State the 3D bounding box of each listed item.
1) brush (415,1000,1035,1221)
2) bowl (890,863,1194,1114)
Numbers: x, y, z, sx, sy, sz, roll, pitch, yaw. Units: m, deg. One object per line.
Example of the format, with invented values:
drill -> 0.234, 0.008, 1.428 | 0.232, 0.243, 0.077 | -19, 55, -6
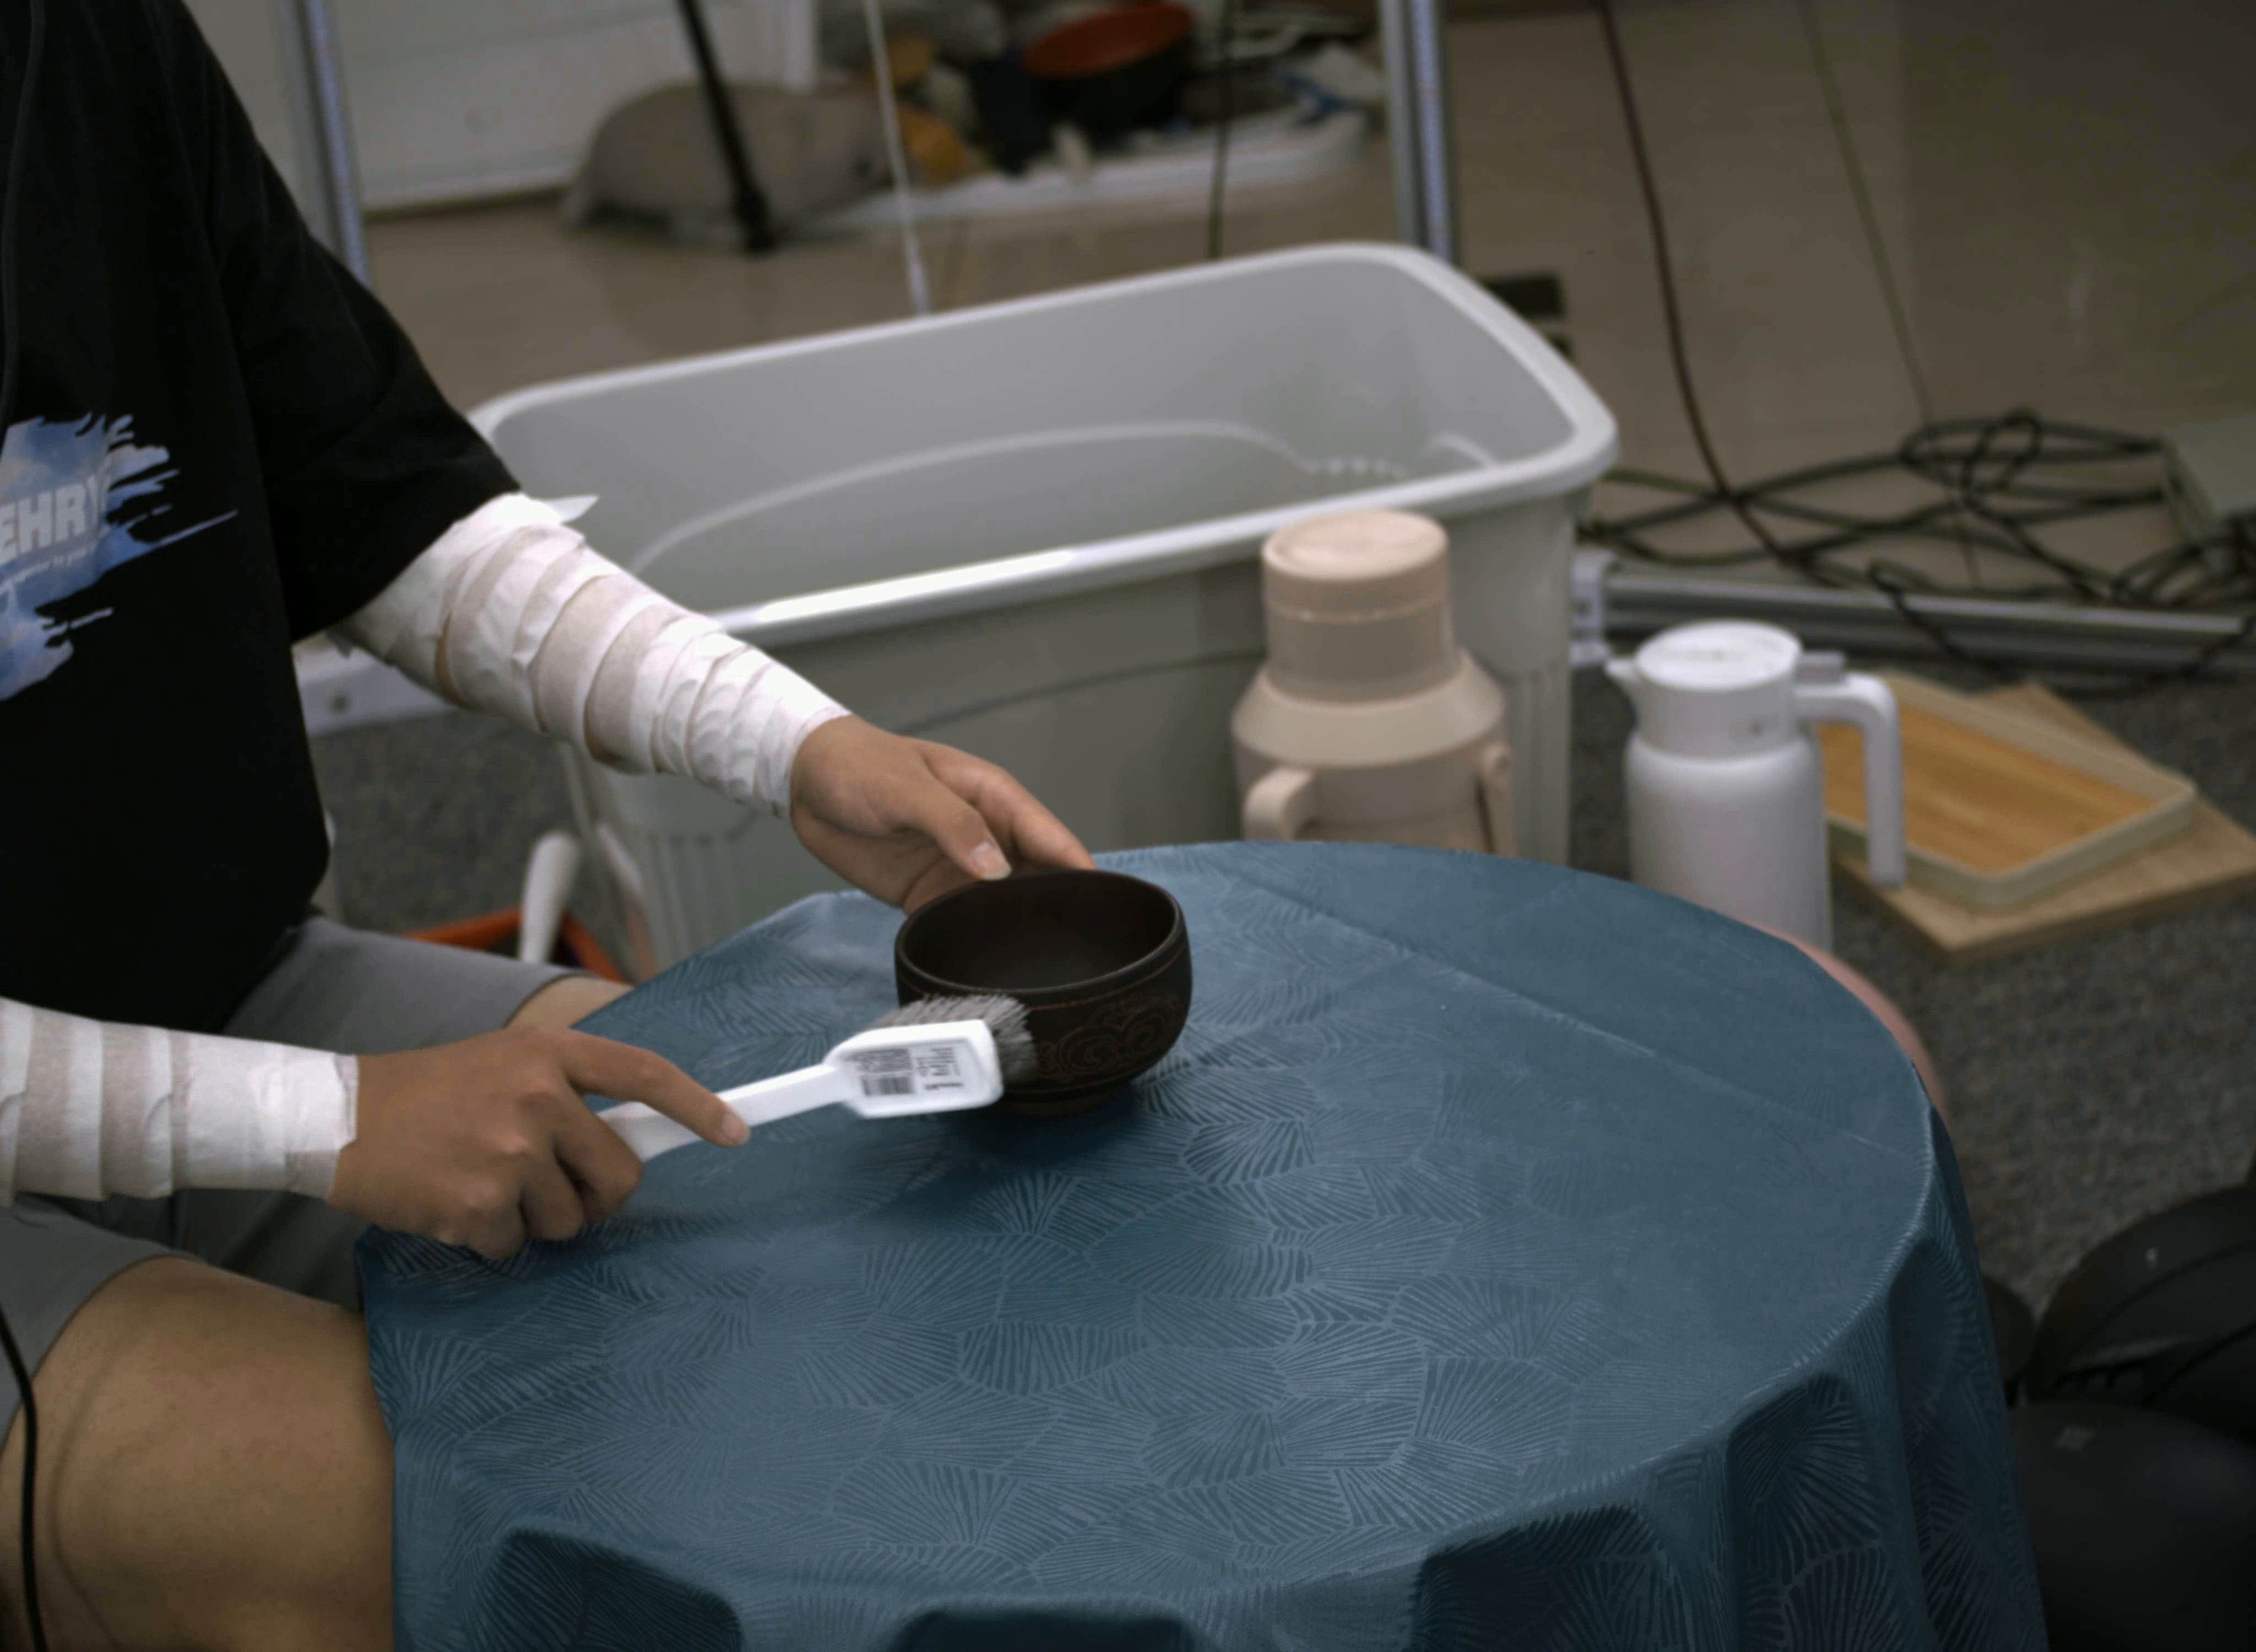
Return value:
brush -> -0.154, 0.109, 2.169 | 0.243, 0.035, 0.050 | -14, 13, 12
bowl -> -0.031, 0.069, 2.218 | 0.118, 0.071, 0.116 | -8, 25, 4
